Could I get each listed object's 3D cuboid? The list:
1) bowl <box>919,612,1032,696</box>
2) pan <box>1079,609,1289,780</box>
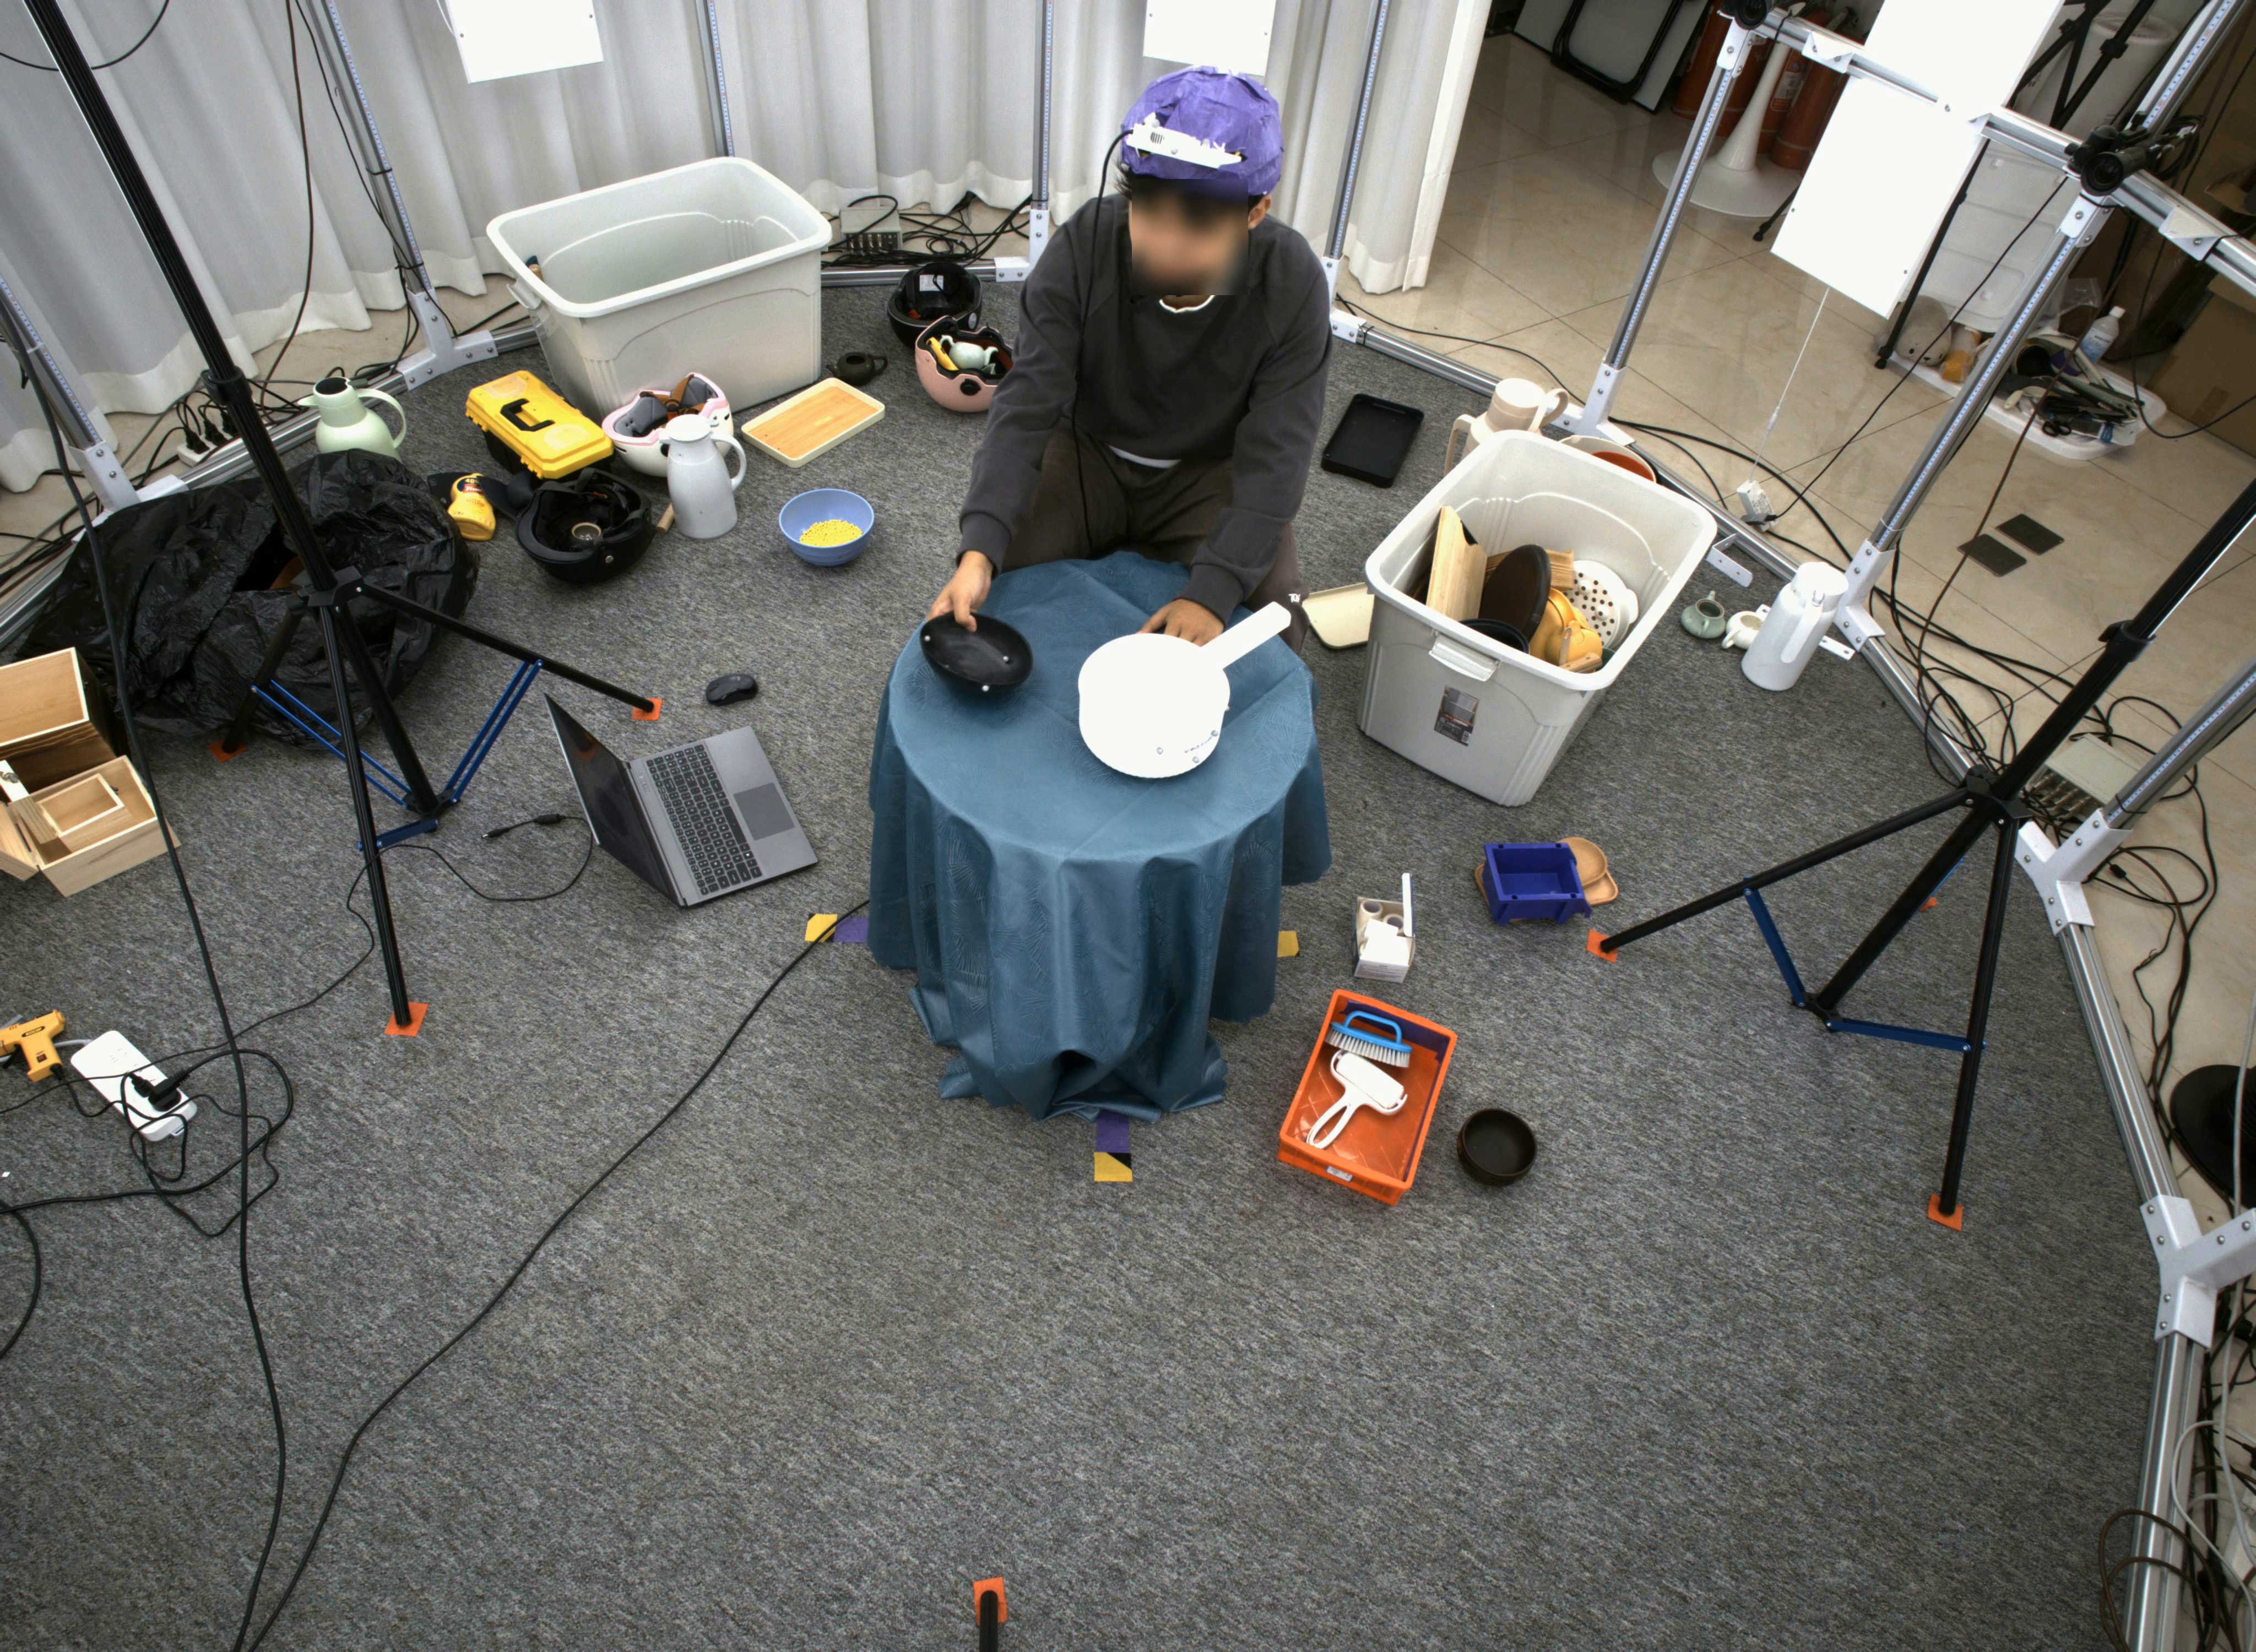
[{"bbox_3d":[-0.217,-0.230,1.801,0.172,0.065,0.139,30,48,15],"label":"bowl"},{"bbox_3d":[0.087,-0.190,1.784,0.358,0.099,0.204,-33,55,-31],"label":"pan"}]
